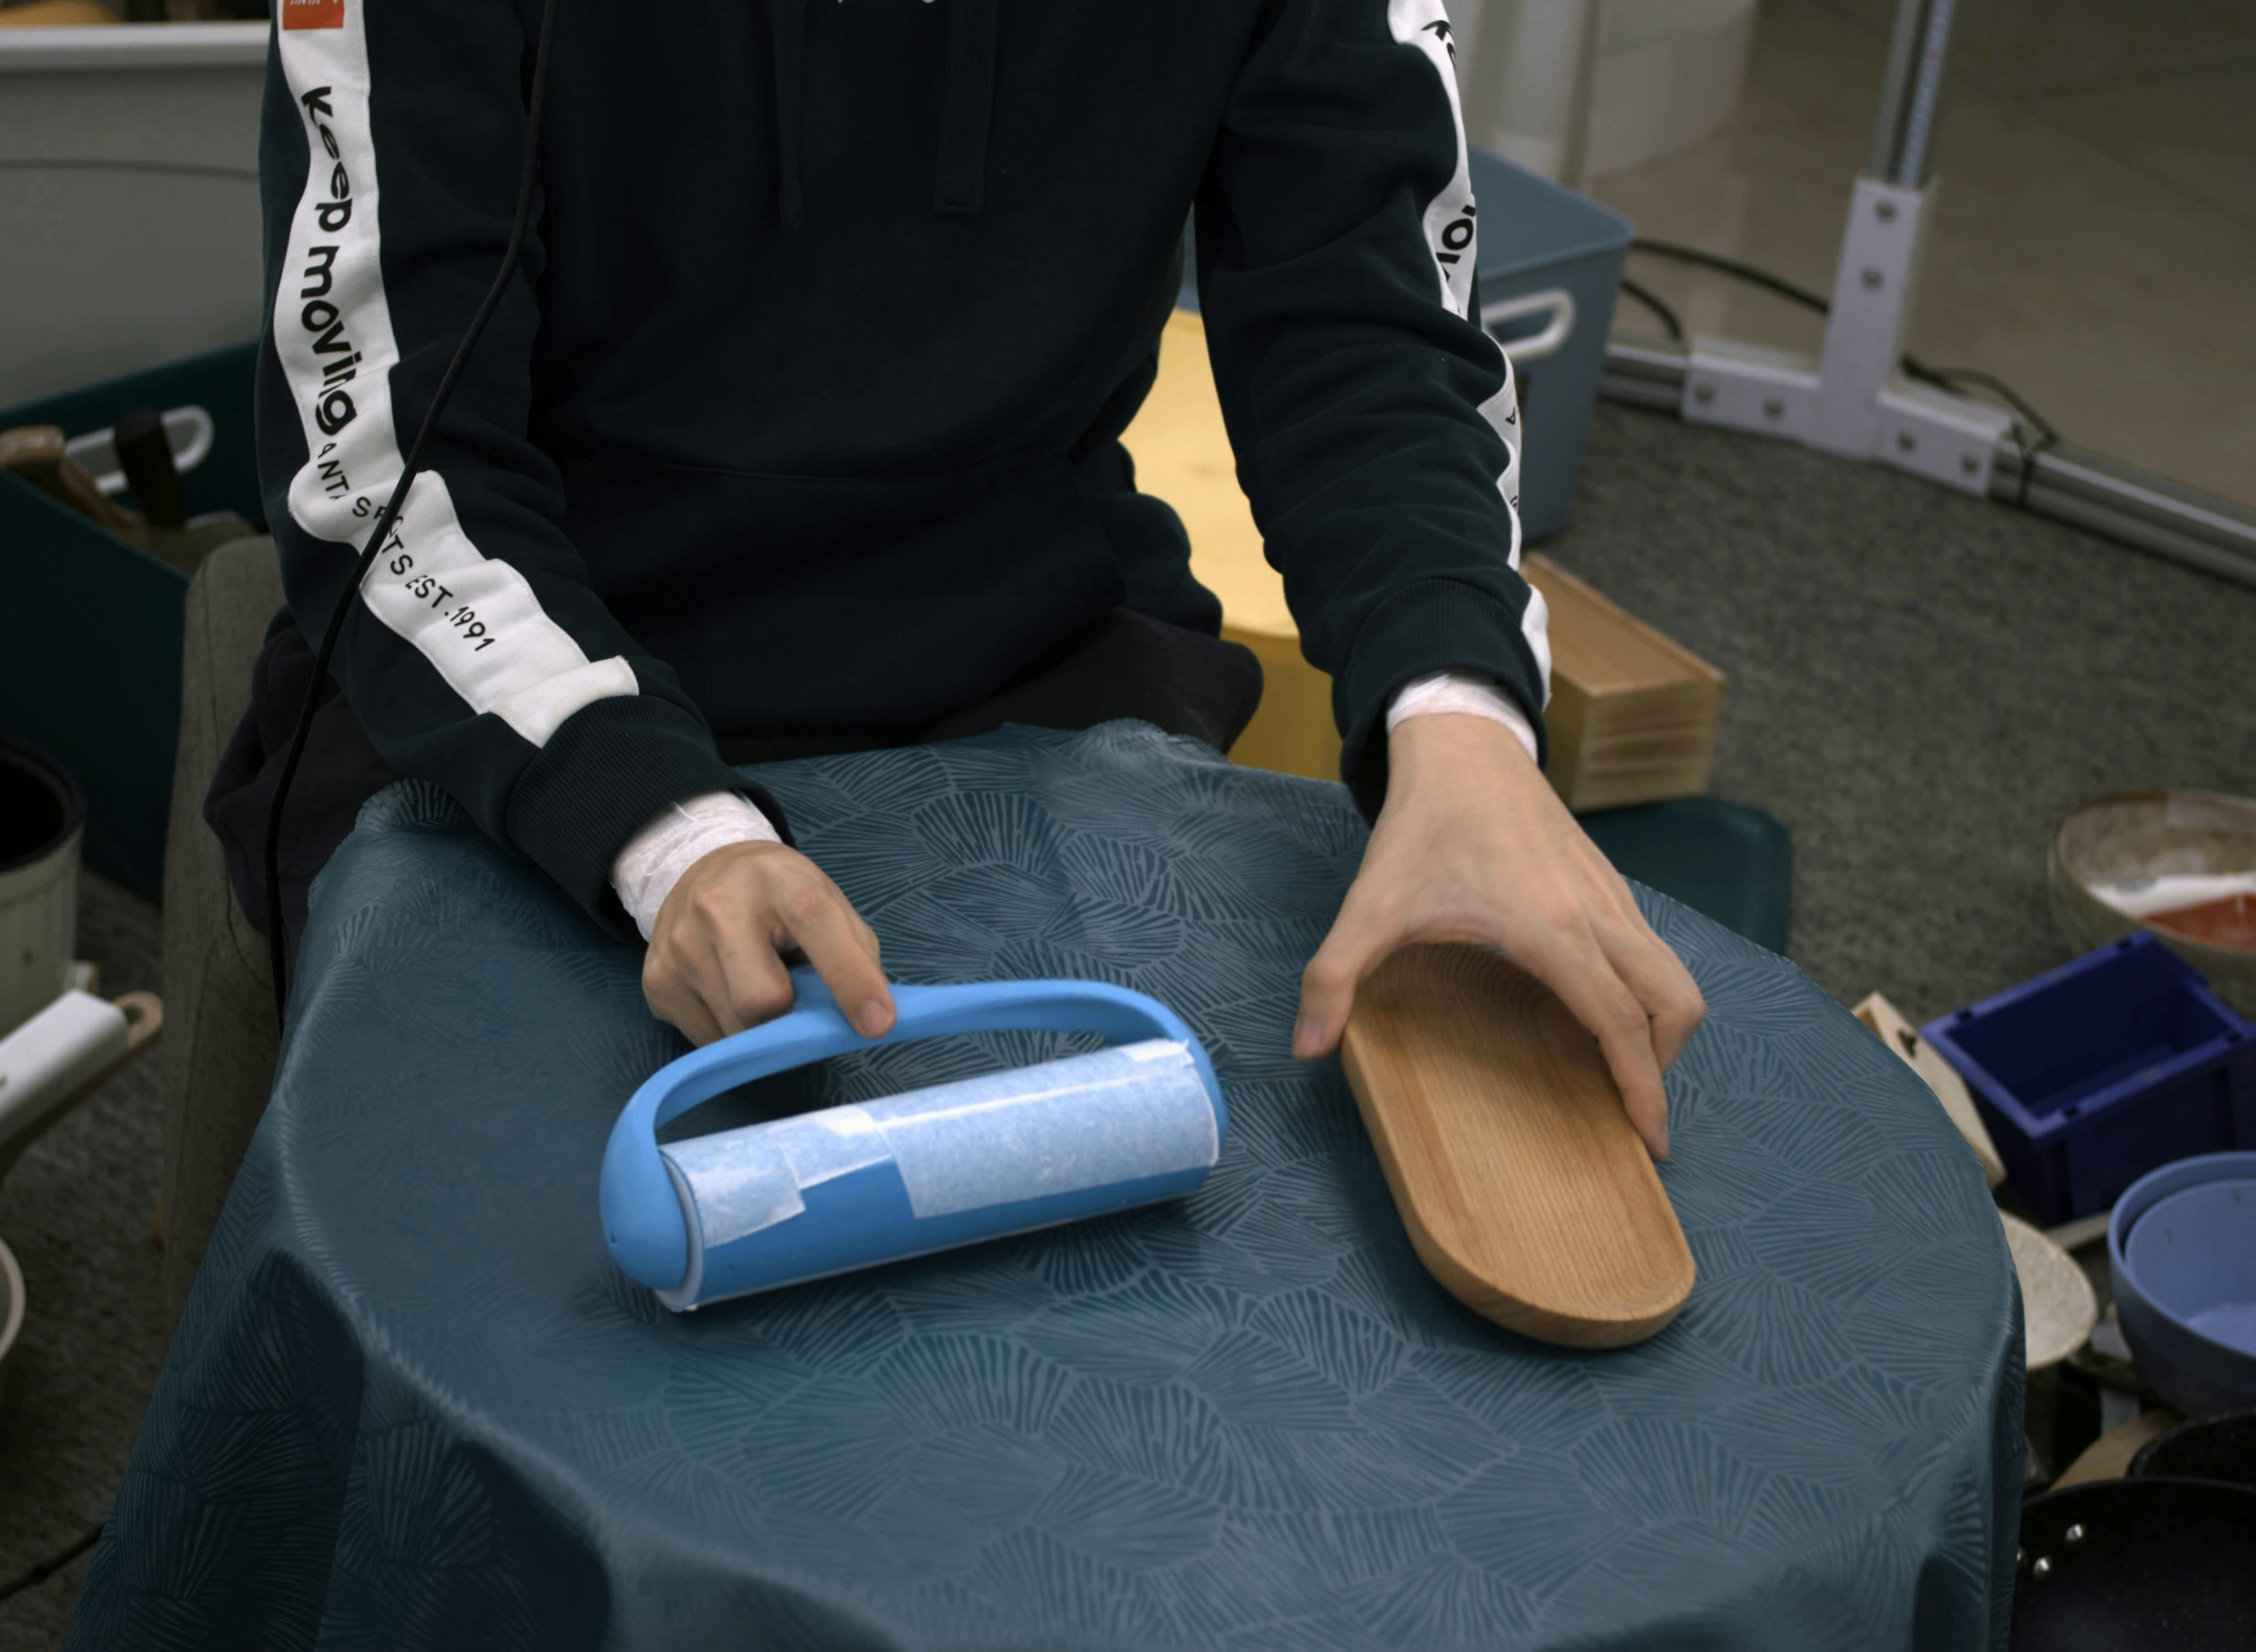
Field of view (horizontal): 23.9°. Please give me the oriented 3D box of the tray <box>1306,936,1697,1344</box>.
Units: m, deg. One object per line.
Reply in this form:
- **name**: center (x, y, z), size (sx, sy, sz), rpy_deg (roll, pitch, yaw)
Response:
- **tray**: center (0.125, 0.105, 1.824), size (0.101, 0.020, 0.233), rpy_deg (8, 27, -18)

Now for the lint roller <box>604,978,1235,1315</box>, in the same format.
- **lint roller**: center (-0.097, 0.086, 1.783), size (0.227, 0.067, 0.182), rpy_deg (-13, 34, -30)
